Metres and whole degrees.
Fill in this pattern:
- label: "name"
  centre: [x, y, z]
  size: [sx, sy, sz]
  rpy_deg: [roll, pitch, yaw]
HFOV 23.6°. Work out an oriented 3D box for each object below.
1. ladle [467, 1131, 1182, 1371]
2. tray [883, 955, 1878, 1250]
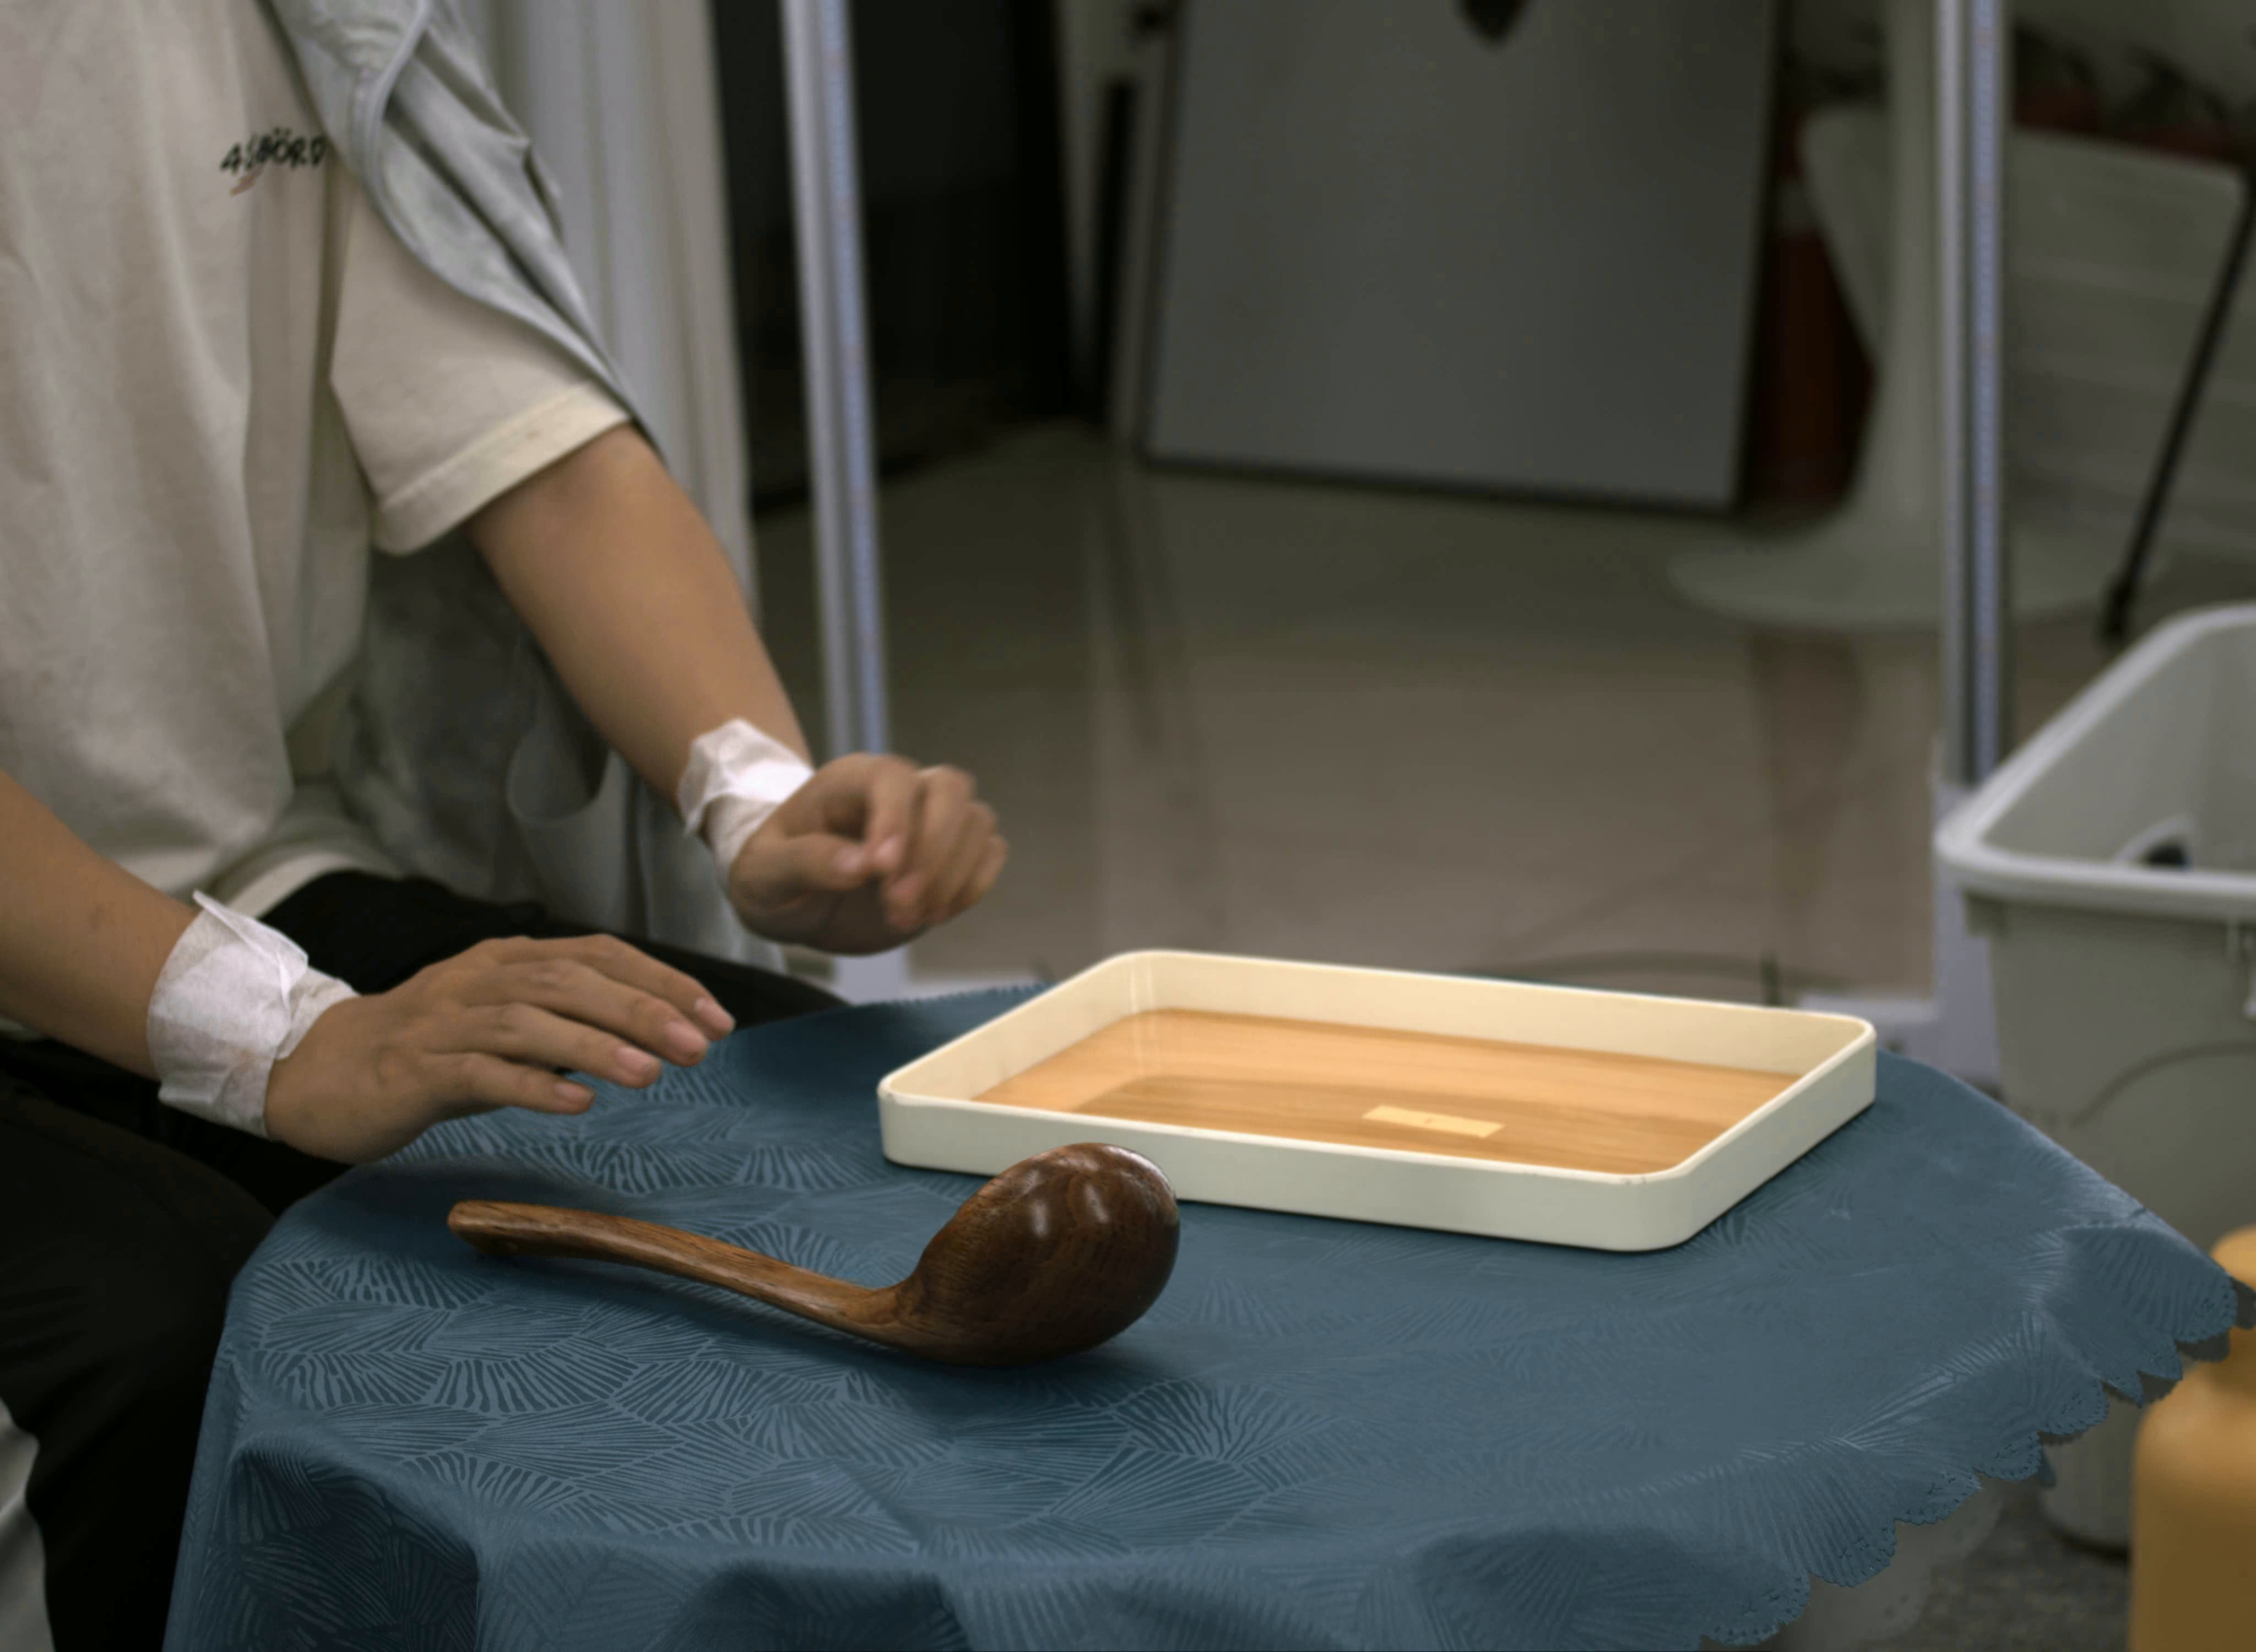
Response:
- label: "ladle"
  centre: [-0.099, 0.118, 1.671]
  size: [0.276, 0.077, 0.081]
  rpy_deg: [7, -24, 43]
- label: "tray"
  centre: [0.085, 0.090, 1.819]
  size: [0.301, 0.028, 0.188]
  rpy_deg: [4, 16, 31]
